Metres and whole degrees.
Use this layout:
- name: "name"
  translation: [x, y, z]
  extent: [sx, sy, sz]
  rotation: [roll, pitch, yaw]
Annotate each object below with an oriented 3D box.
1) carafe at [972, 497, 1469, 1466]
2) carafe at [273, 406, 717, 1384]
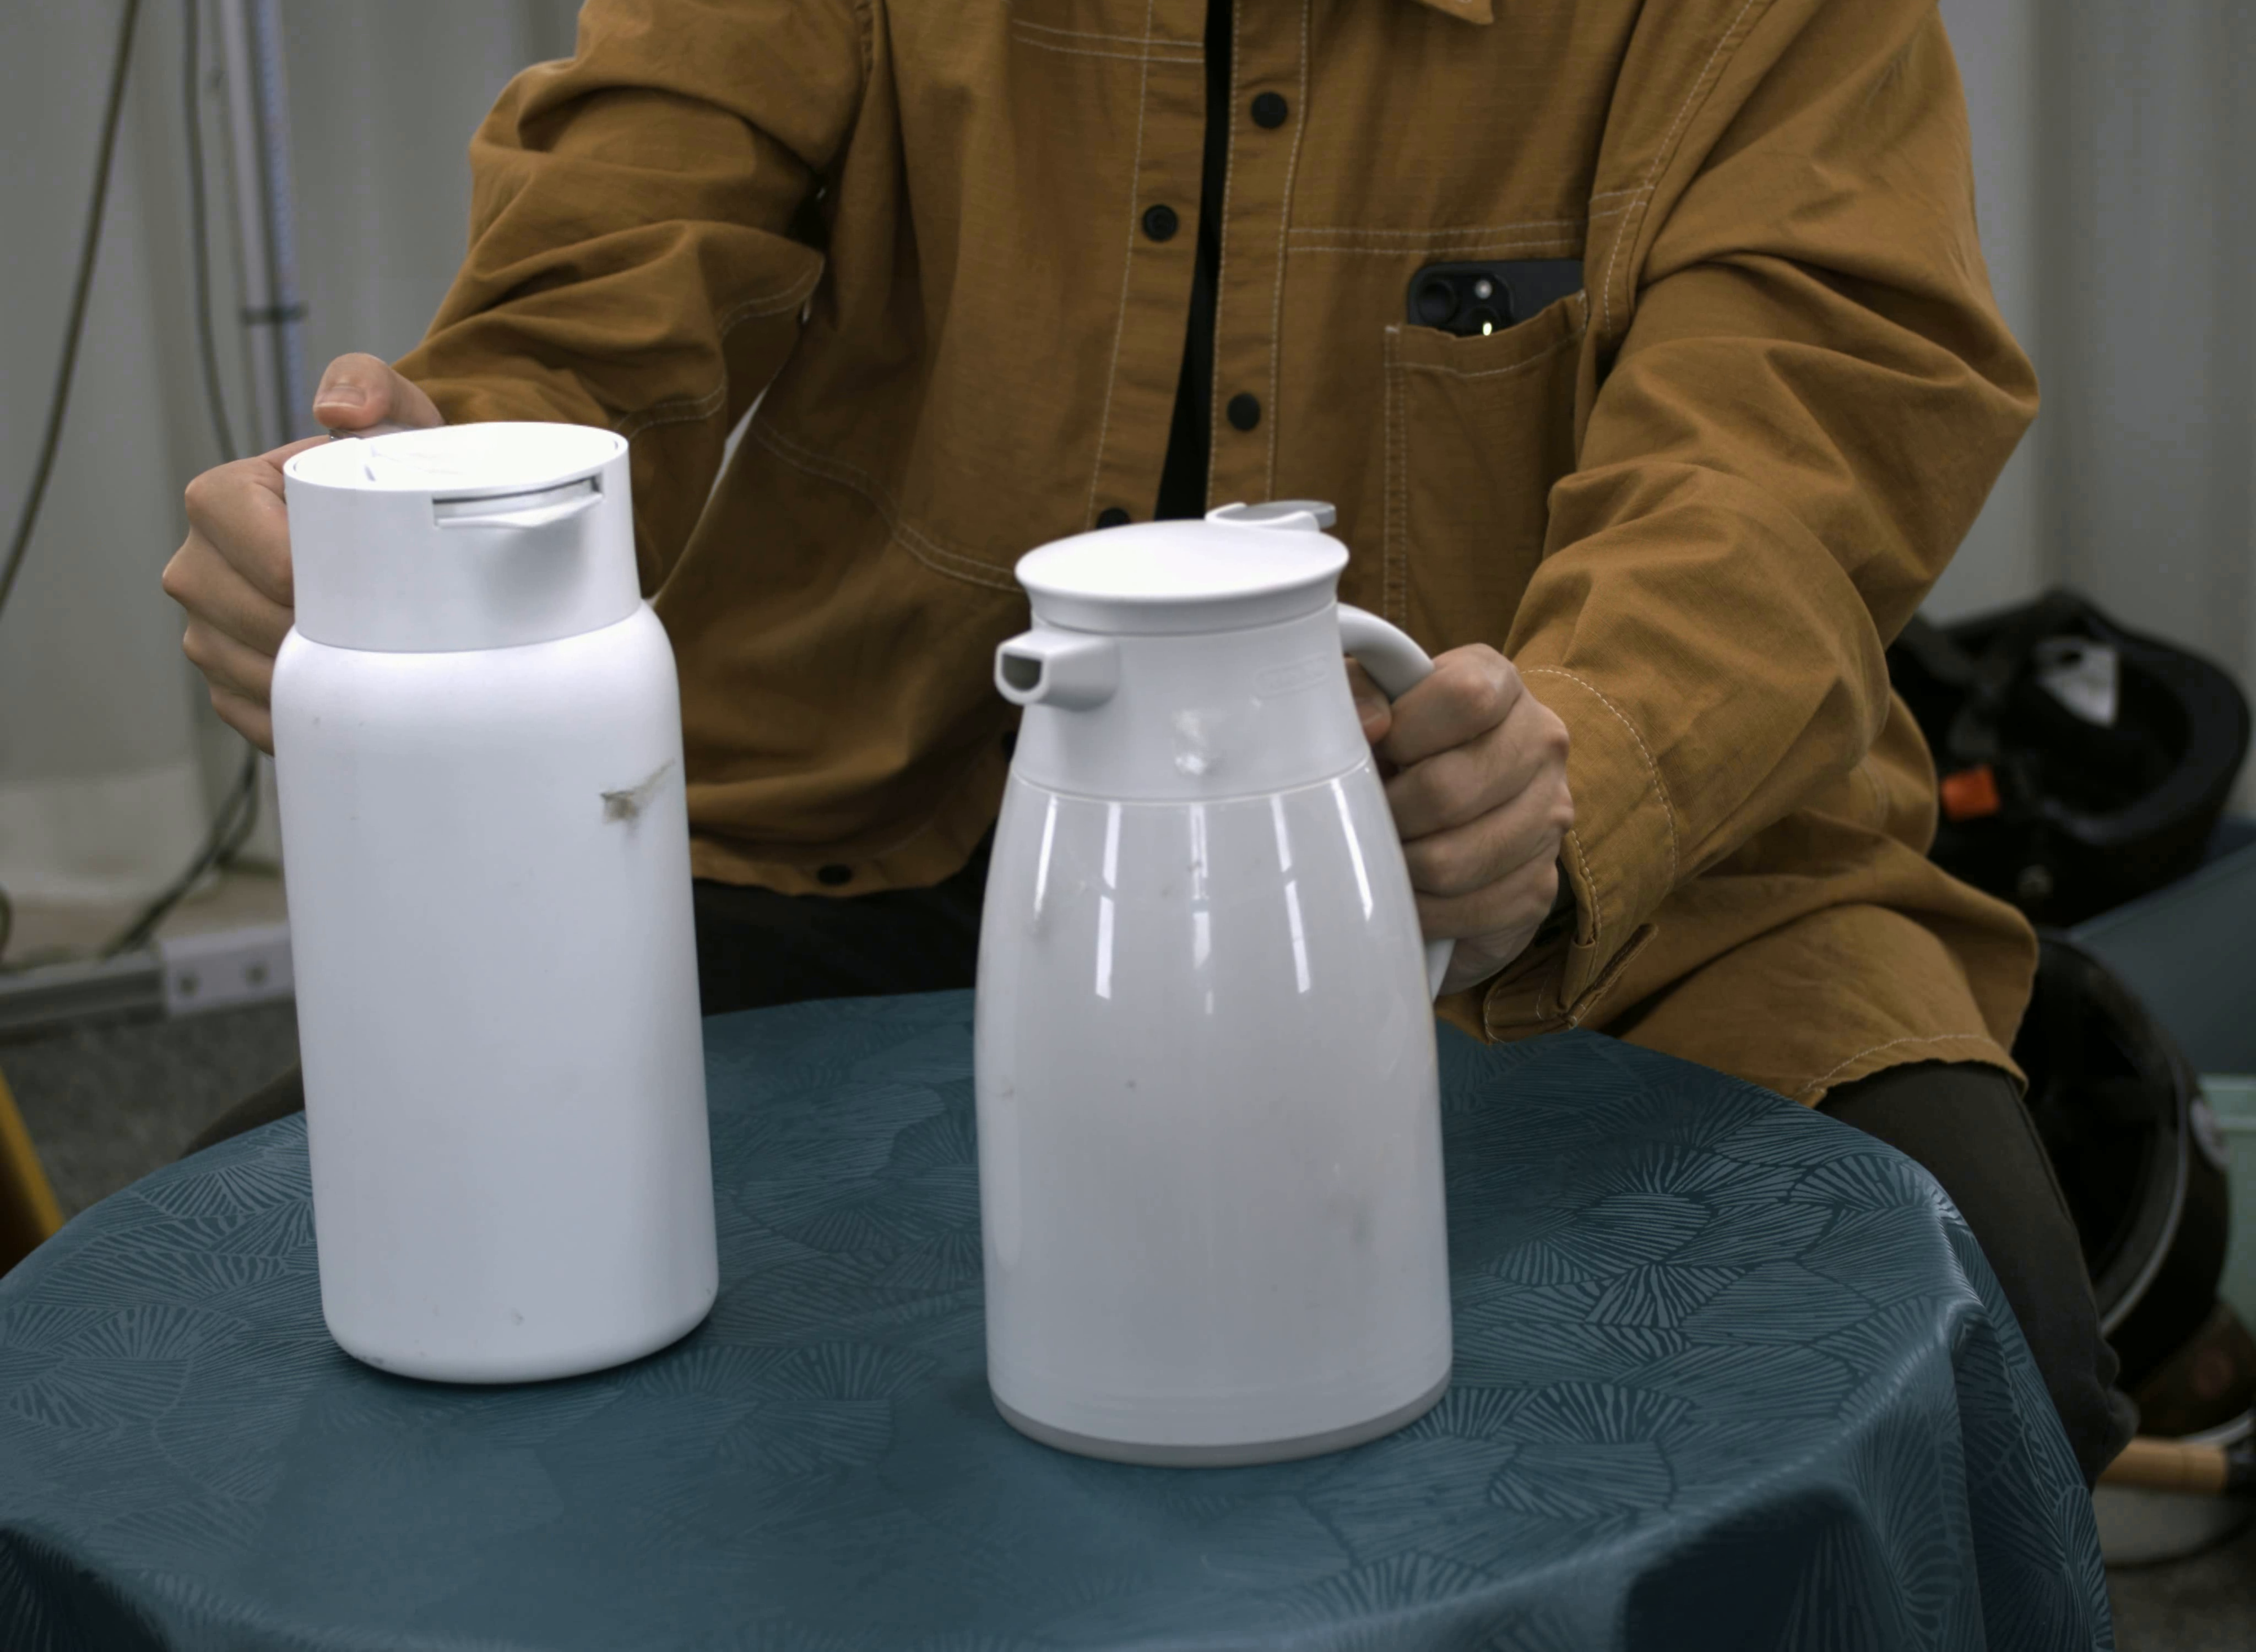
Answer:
- name: "carafe"
  translation: [0.033, 0.034, 1.531]
  extent: [0.133, 0.248, 0.167]
  rotation: [11, 18, 43]
- name: "carafe"
  translation: [-0.195, 0.017, 1.604]
  extent: [0.123, 0.268, 0.174]
  rotation: [-13, 17, -30]
